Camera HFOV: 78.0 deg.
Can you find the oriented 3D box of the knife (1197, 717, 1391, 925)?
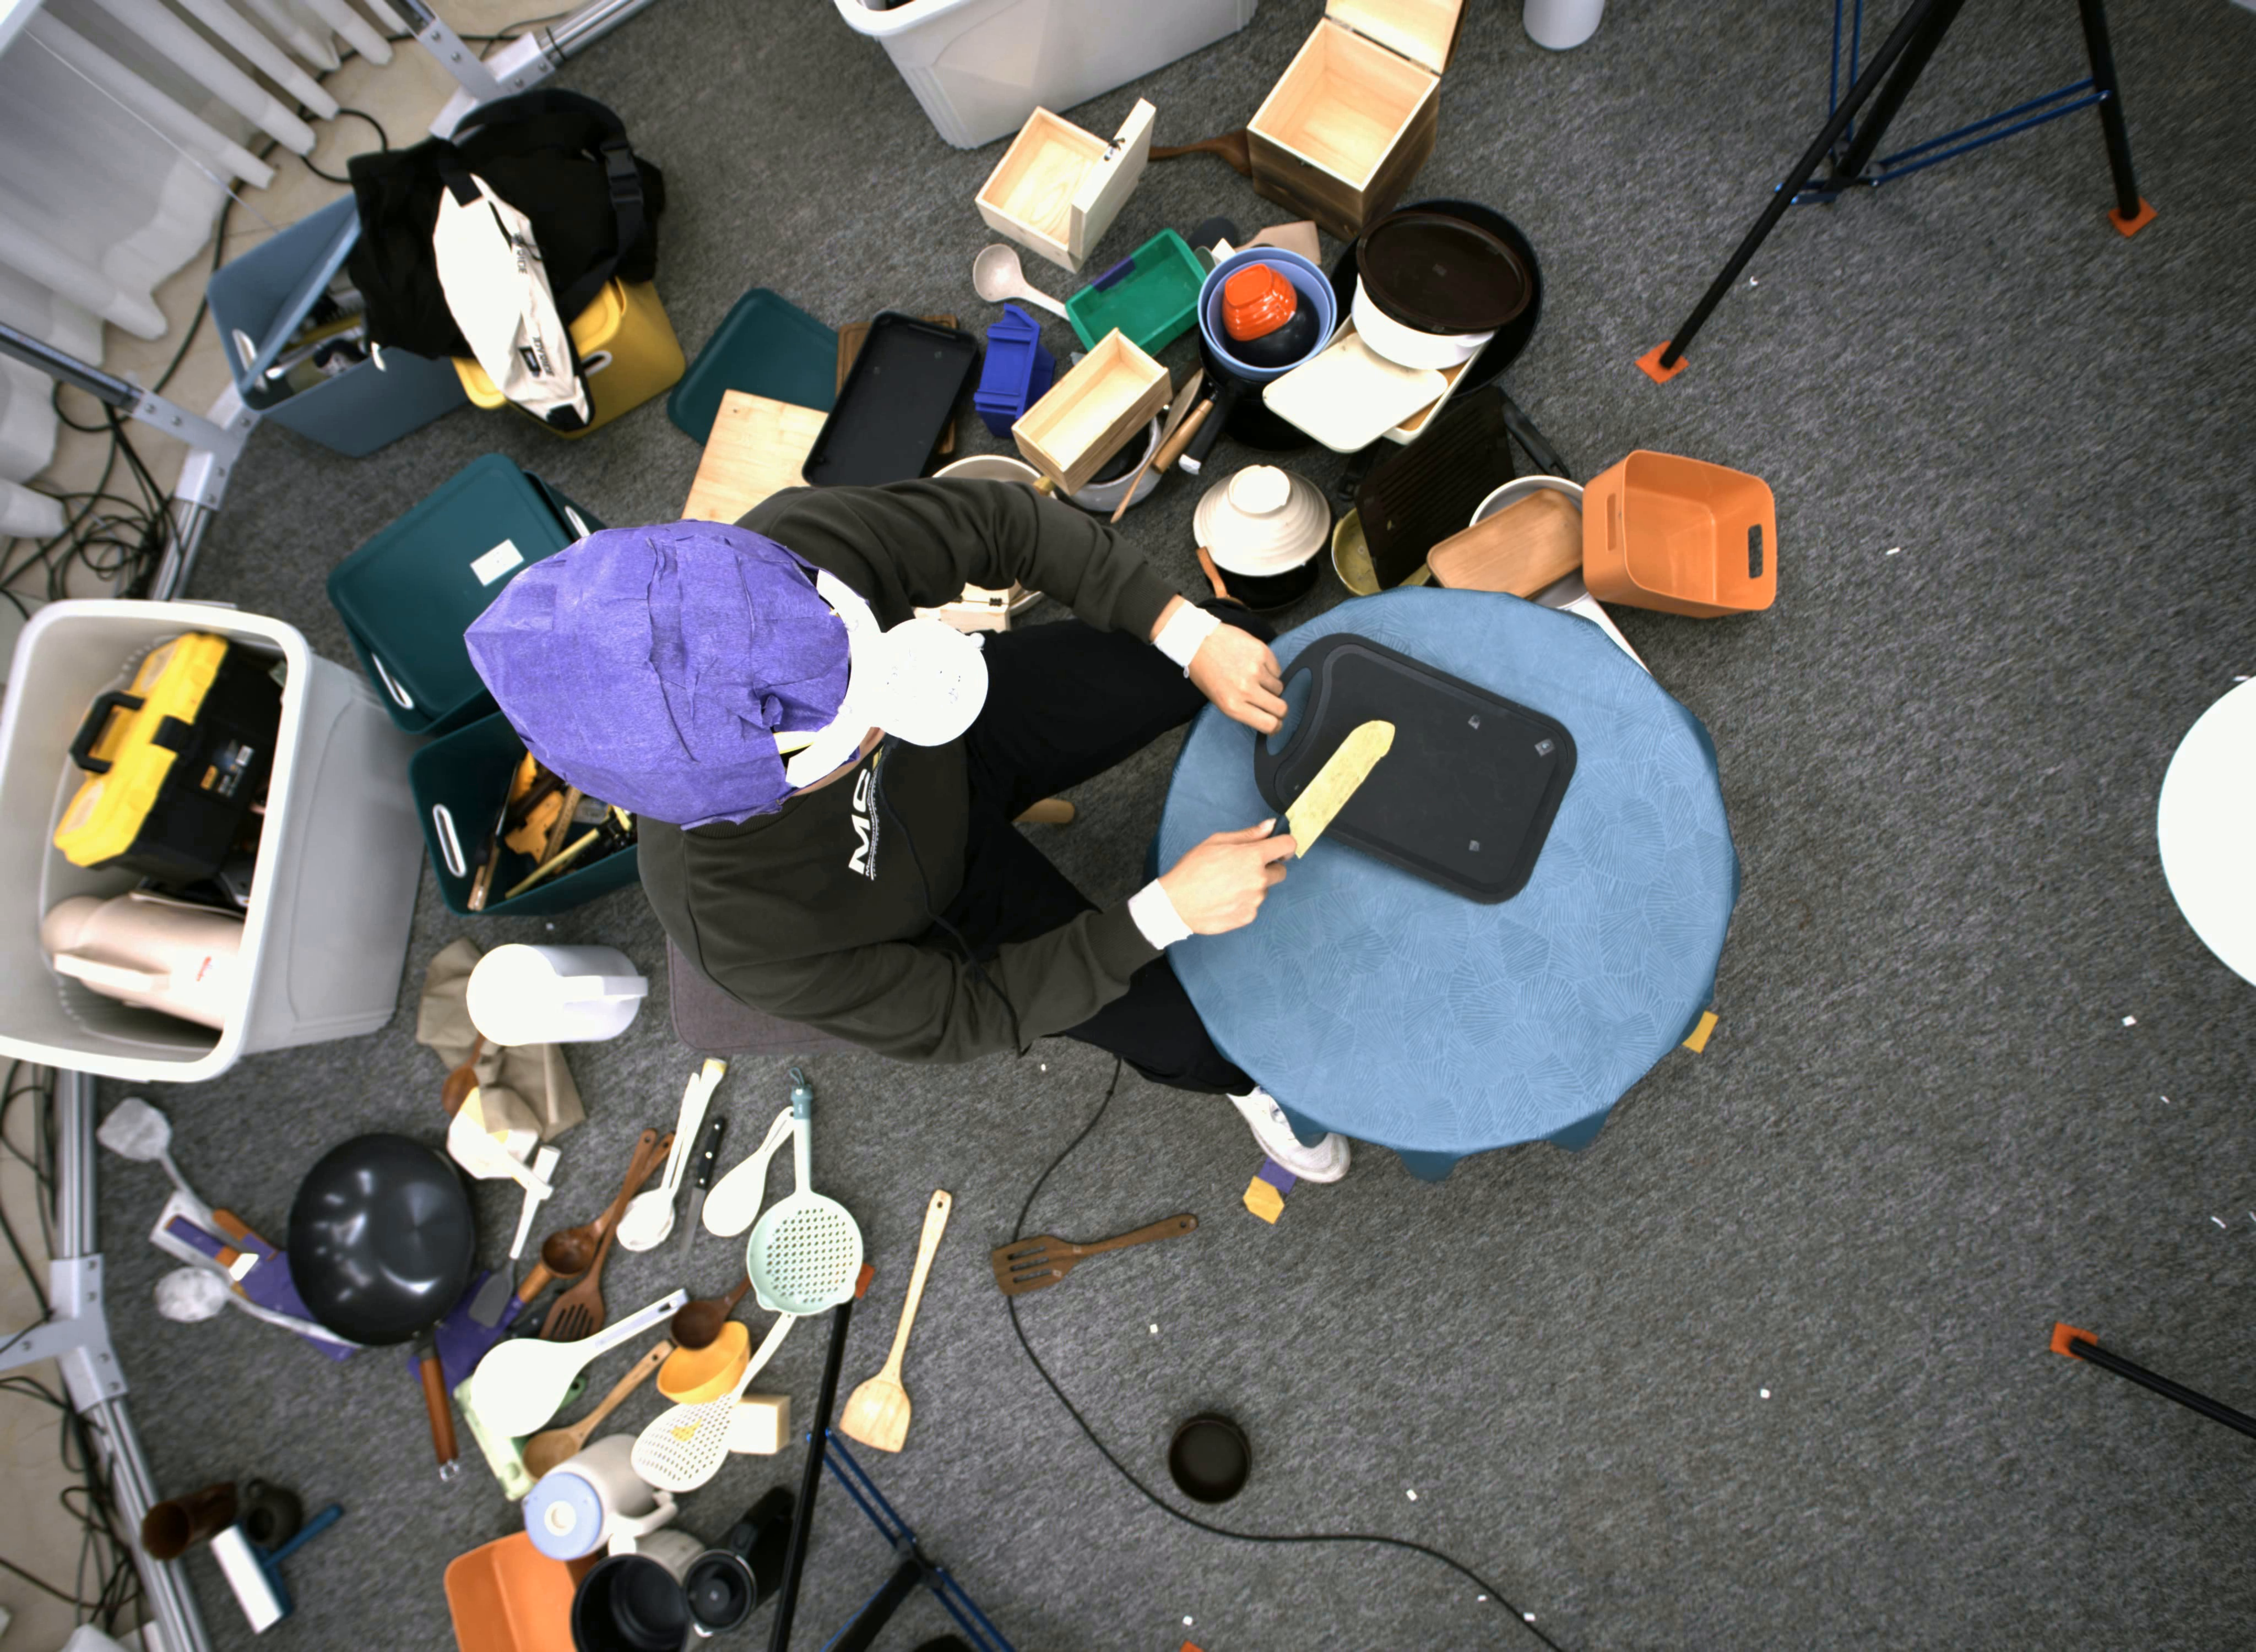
[{"bbox_3d":[0.174,-0.005,1.401,0.288,0.082,0.027,-47,48,-6],"label":"knife"}]

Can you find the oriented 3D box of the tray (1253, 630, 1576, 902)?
[{"bbox_3d":[0.293,-0.068,1.433,0.325,0.010,0.211,24,90,1],"label":"tray"}]
